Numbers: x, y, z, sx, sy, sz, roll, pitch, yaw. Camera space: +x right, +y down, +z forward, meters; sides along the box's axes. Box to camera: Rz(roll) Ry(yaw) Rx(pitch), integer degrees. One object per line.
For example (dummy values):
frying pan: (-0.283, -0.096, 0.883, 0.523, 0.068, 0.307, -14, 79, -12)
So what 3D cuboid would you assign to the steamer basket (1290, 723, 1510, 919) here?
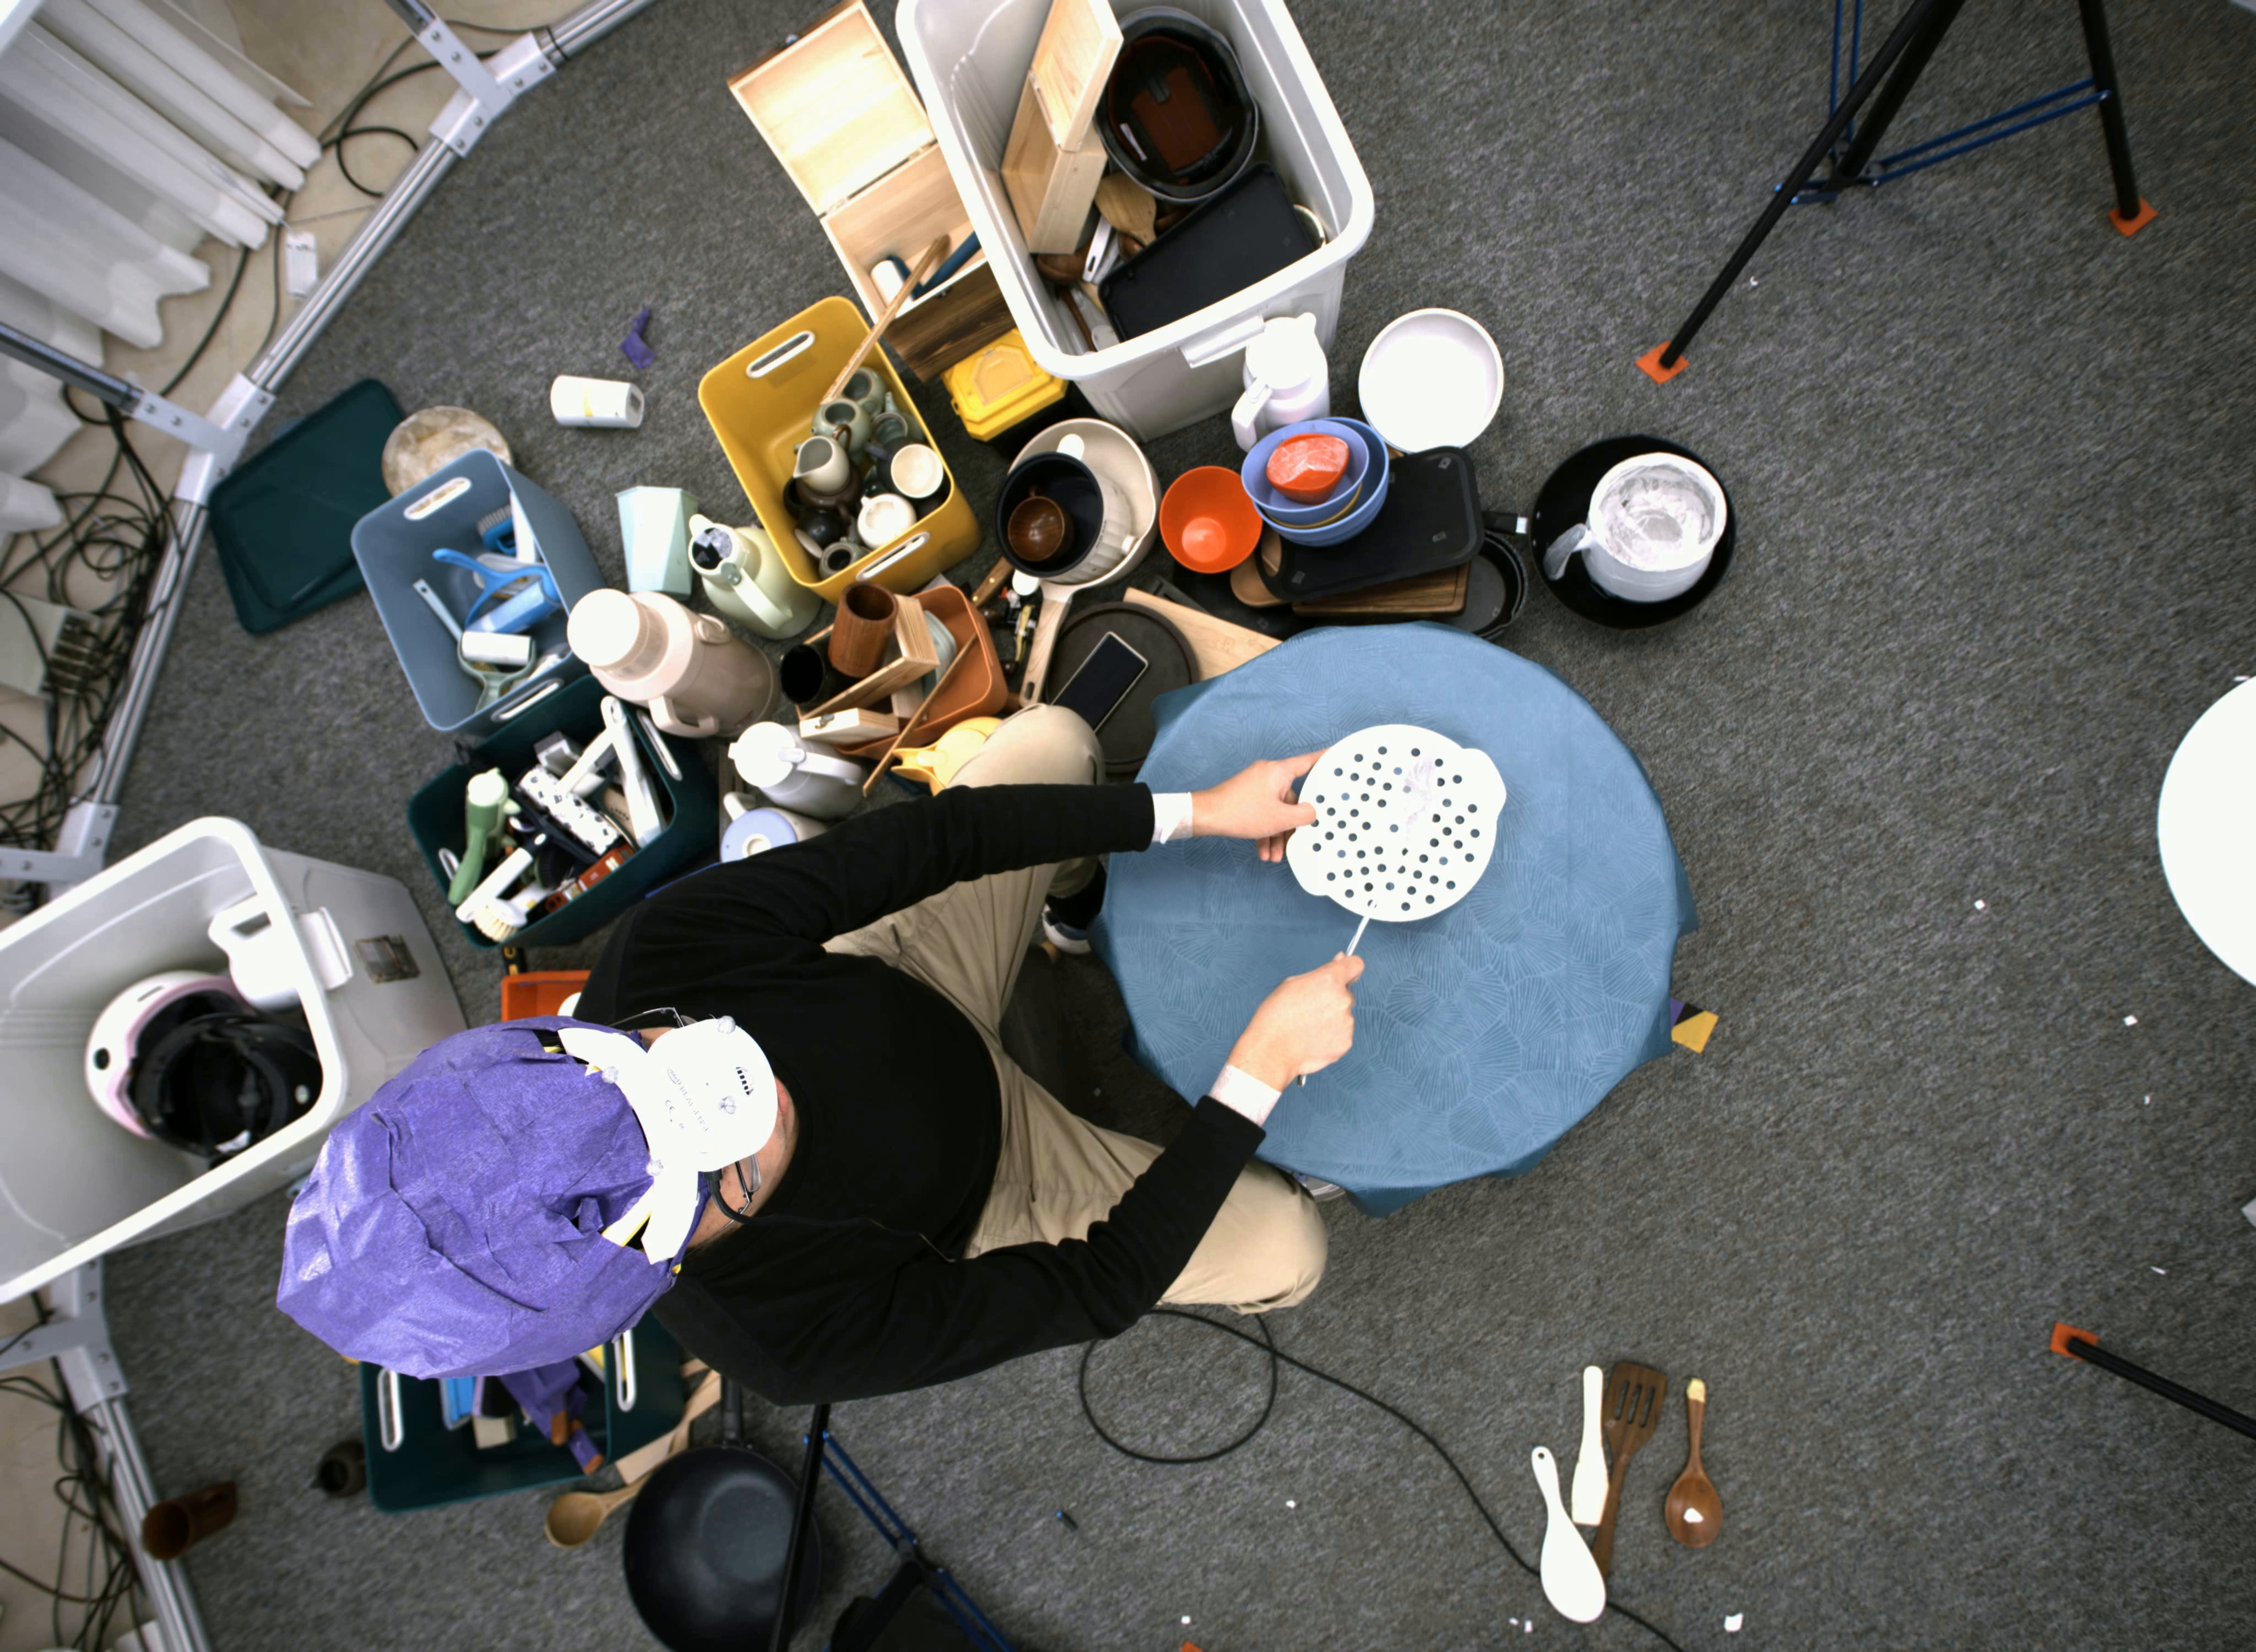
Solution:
steamer basket: (0.281, -0.004, 1.427, 0.232, 0.069, 0.200, -26, 81, 9)

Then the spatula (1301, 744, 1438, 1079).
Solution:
spatula: (0.235, 0.078, 1.362, 0.045, 0.100, 0.359, 31, 72, -1)
